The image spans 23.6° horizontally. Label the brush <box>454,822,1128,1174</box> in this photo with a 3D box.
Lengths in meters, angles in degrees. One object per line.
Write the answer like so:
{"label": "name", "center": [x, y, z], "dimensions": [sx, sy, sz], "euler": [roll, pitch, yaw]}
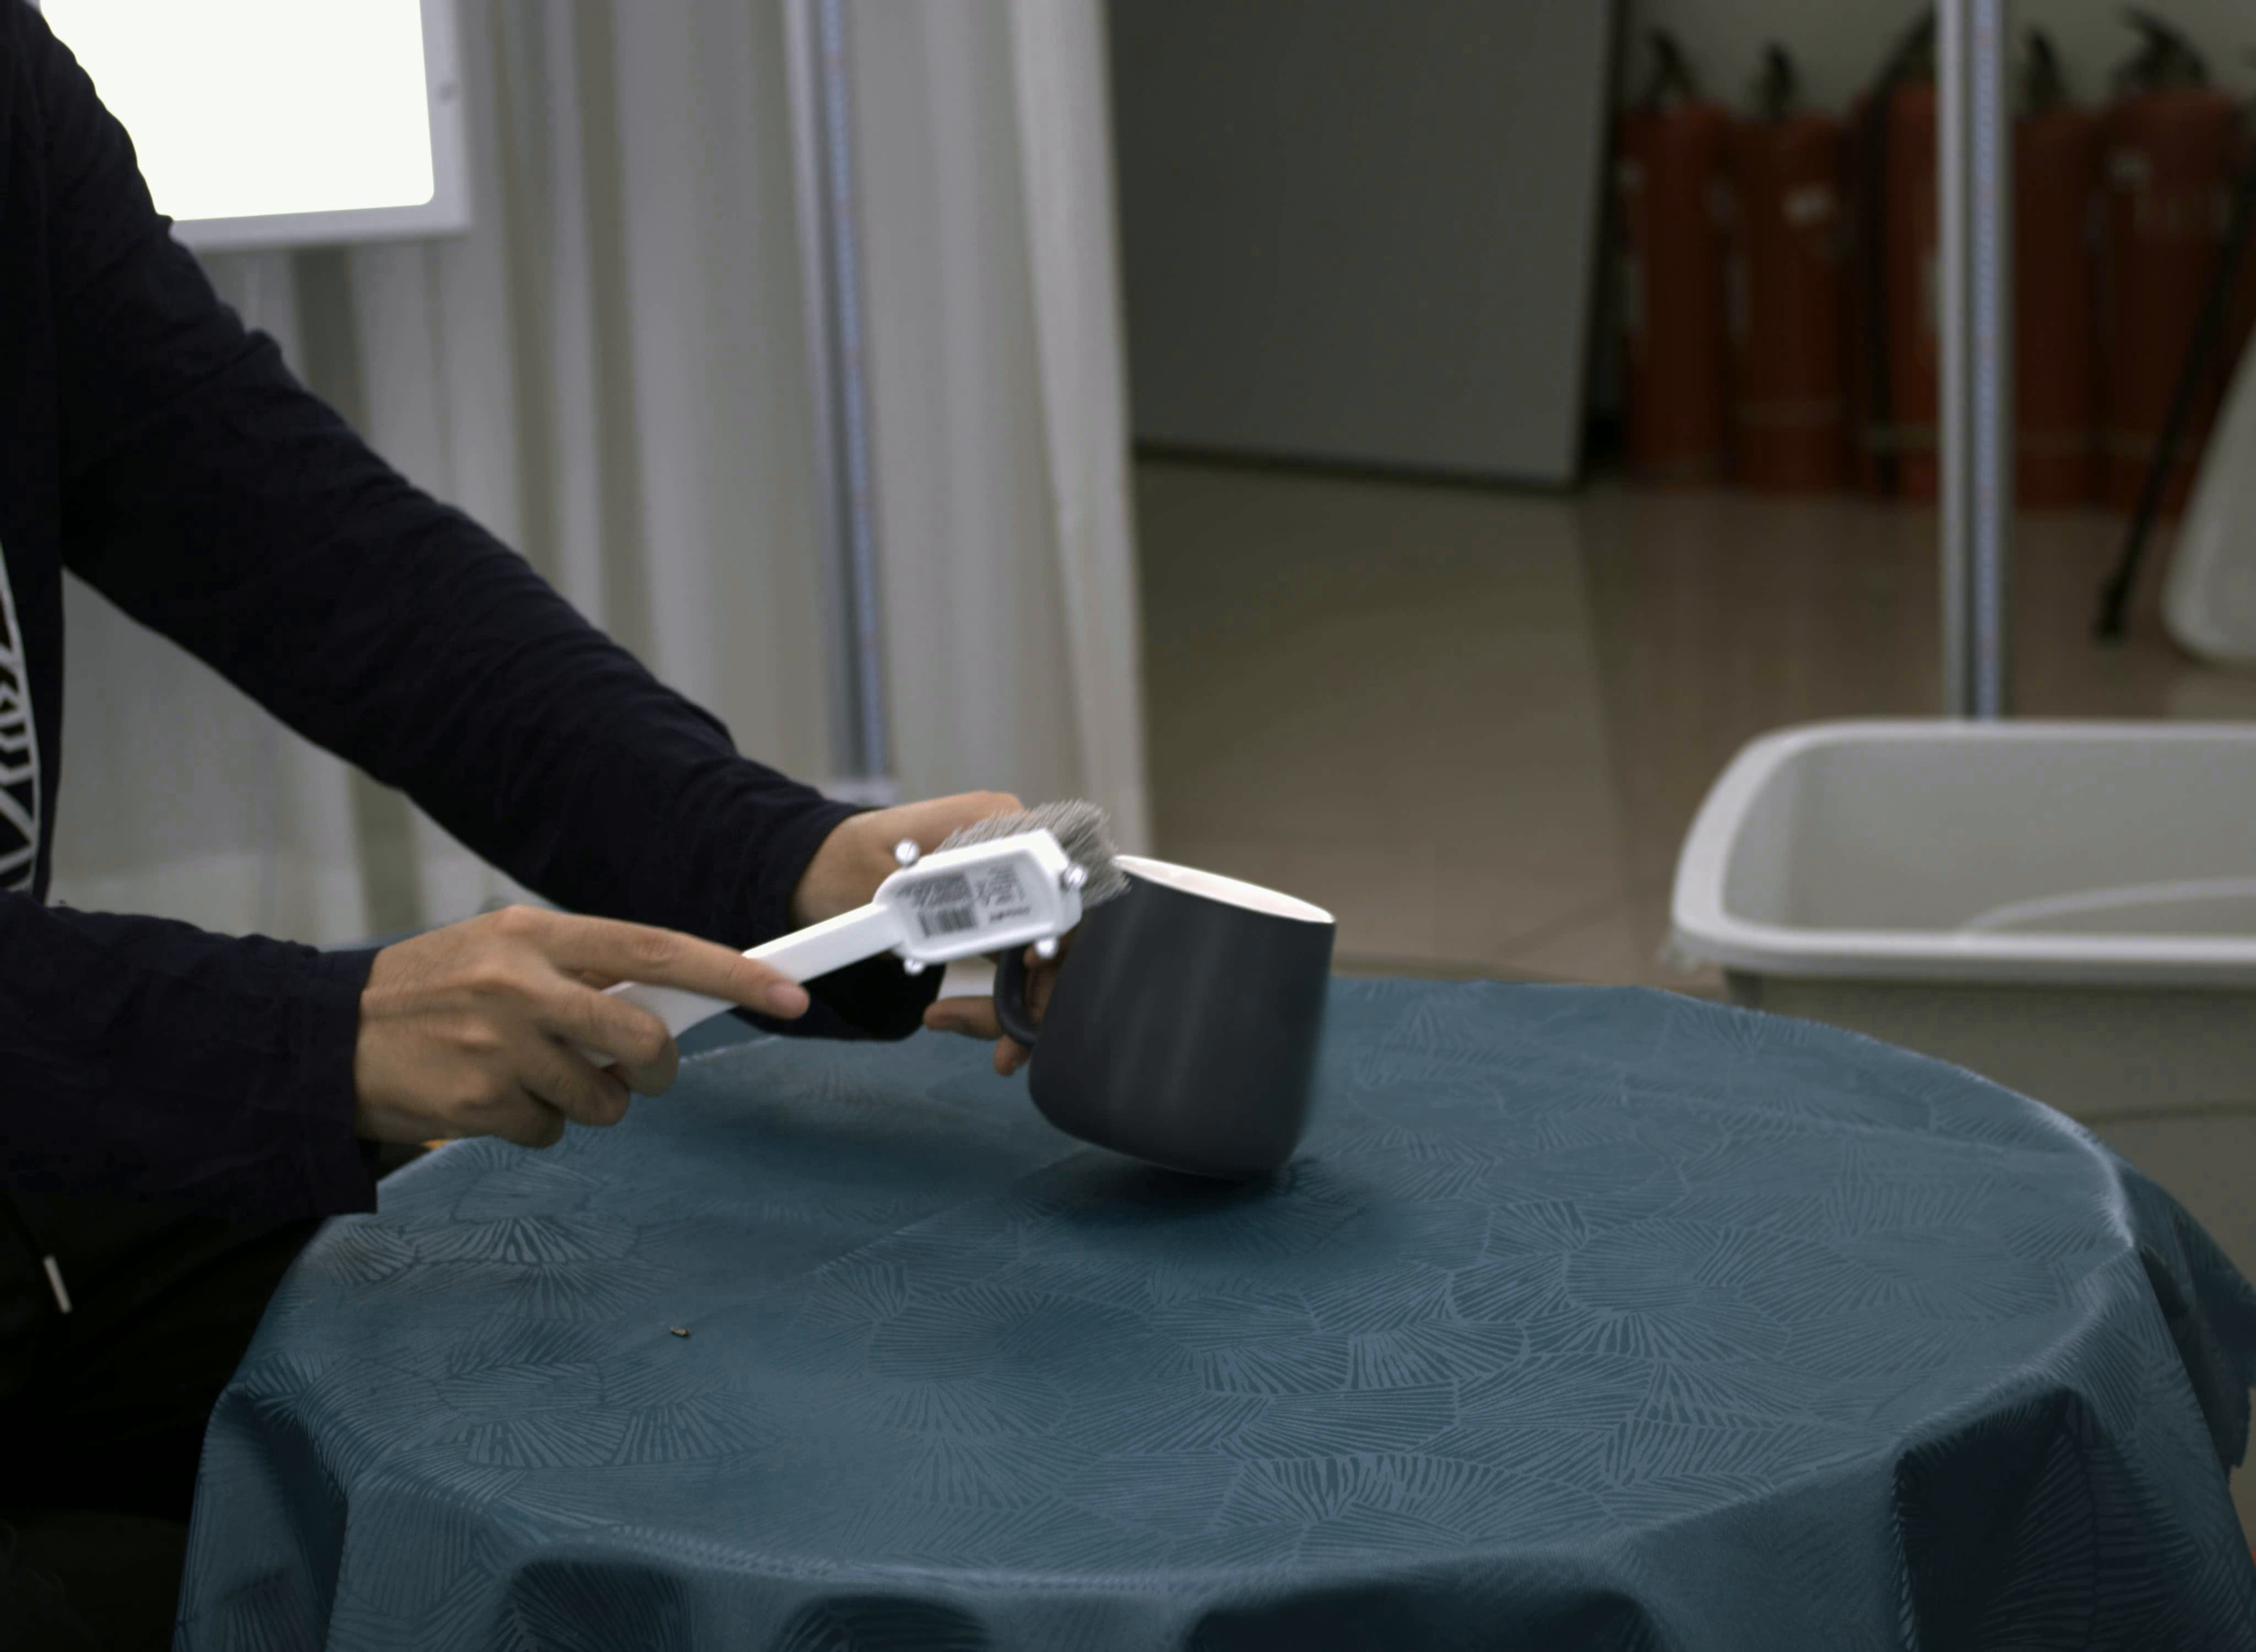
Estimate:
{"label": "brush", "center": [-0.109, 0.055, 1.720], "dimensions": [0.244, 0.034, 0.050], "euler": [-22, 19, 25]}

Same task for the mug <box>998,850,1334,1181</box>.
{"label": "mug", "center": [0.008, 0.059, 1.783], "dimensions": [0.124, 0.091, 0.091], "euler": [20, 7, 39]}
